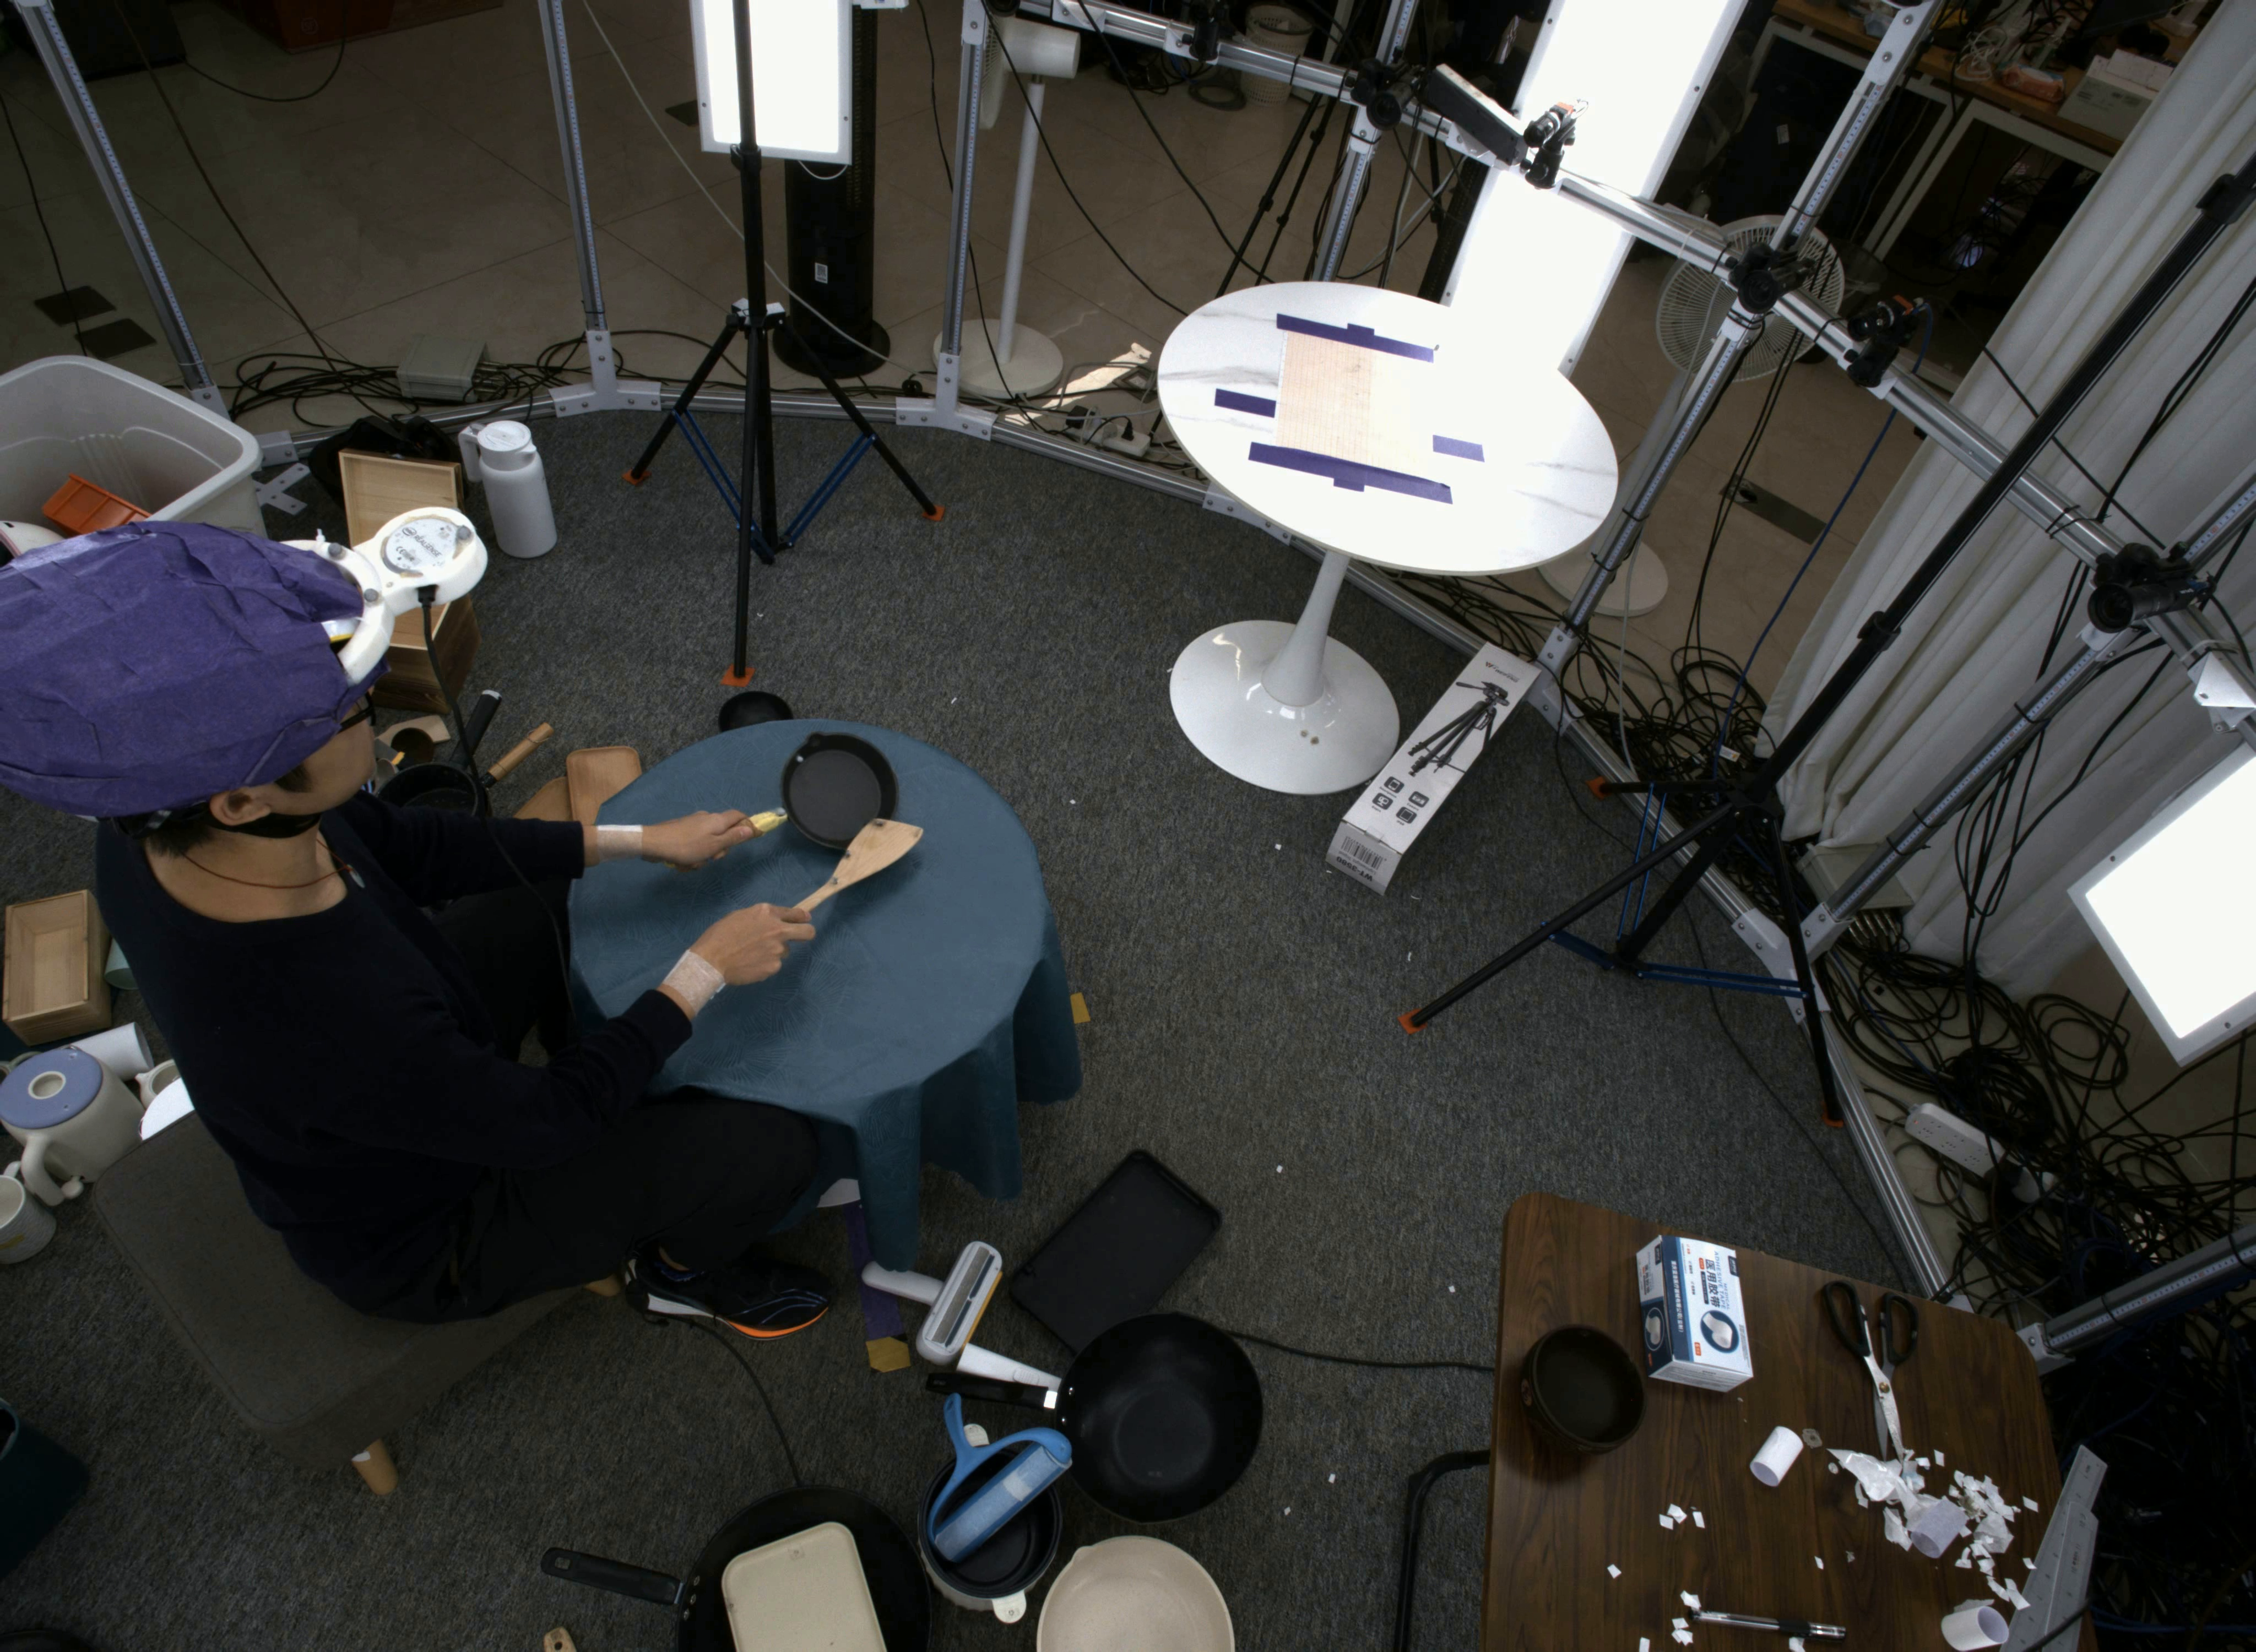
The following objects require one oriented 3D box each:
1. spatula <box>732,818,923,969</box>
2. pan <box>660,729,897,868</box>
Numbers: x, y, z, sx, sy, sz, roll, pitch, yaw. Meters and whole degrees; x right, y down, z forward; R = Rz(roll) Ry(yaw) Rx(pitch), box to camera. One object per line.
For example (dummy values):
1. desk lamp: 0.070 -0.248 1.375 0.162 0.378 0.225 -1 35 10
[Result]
1. spatula: -0.375 0.076 1.598 0.077 0.017 0.327 20 38 20
2. pan: -0.447 -0.017 1.654 0.326 0.049 0.170 -24 92 -31
